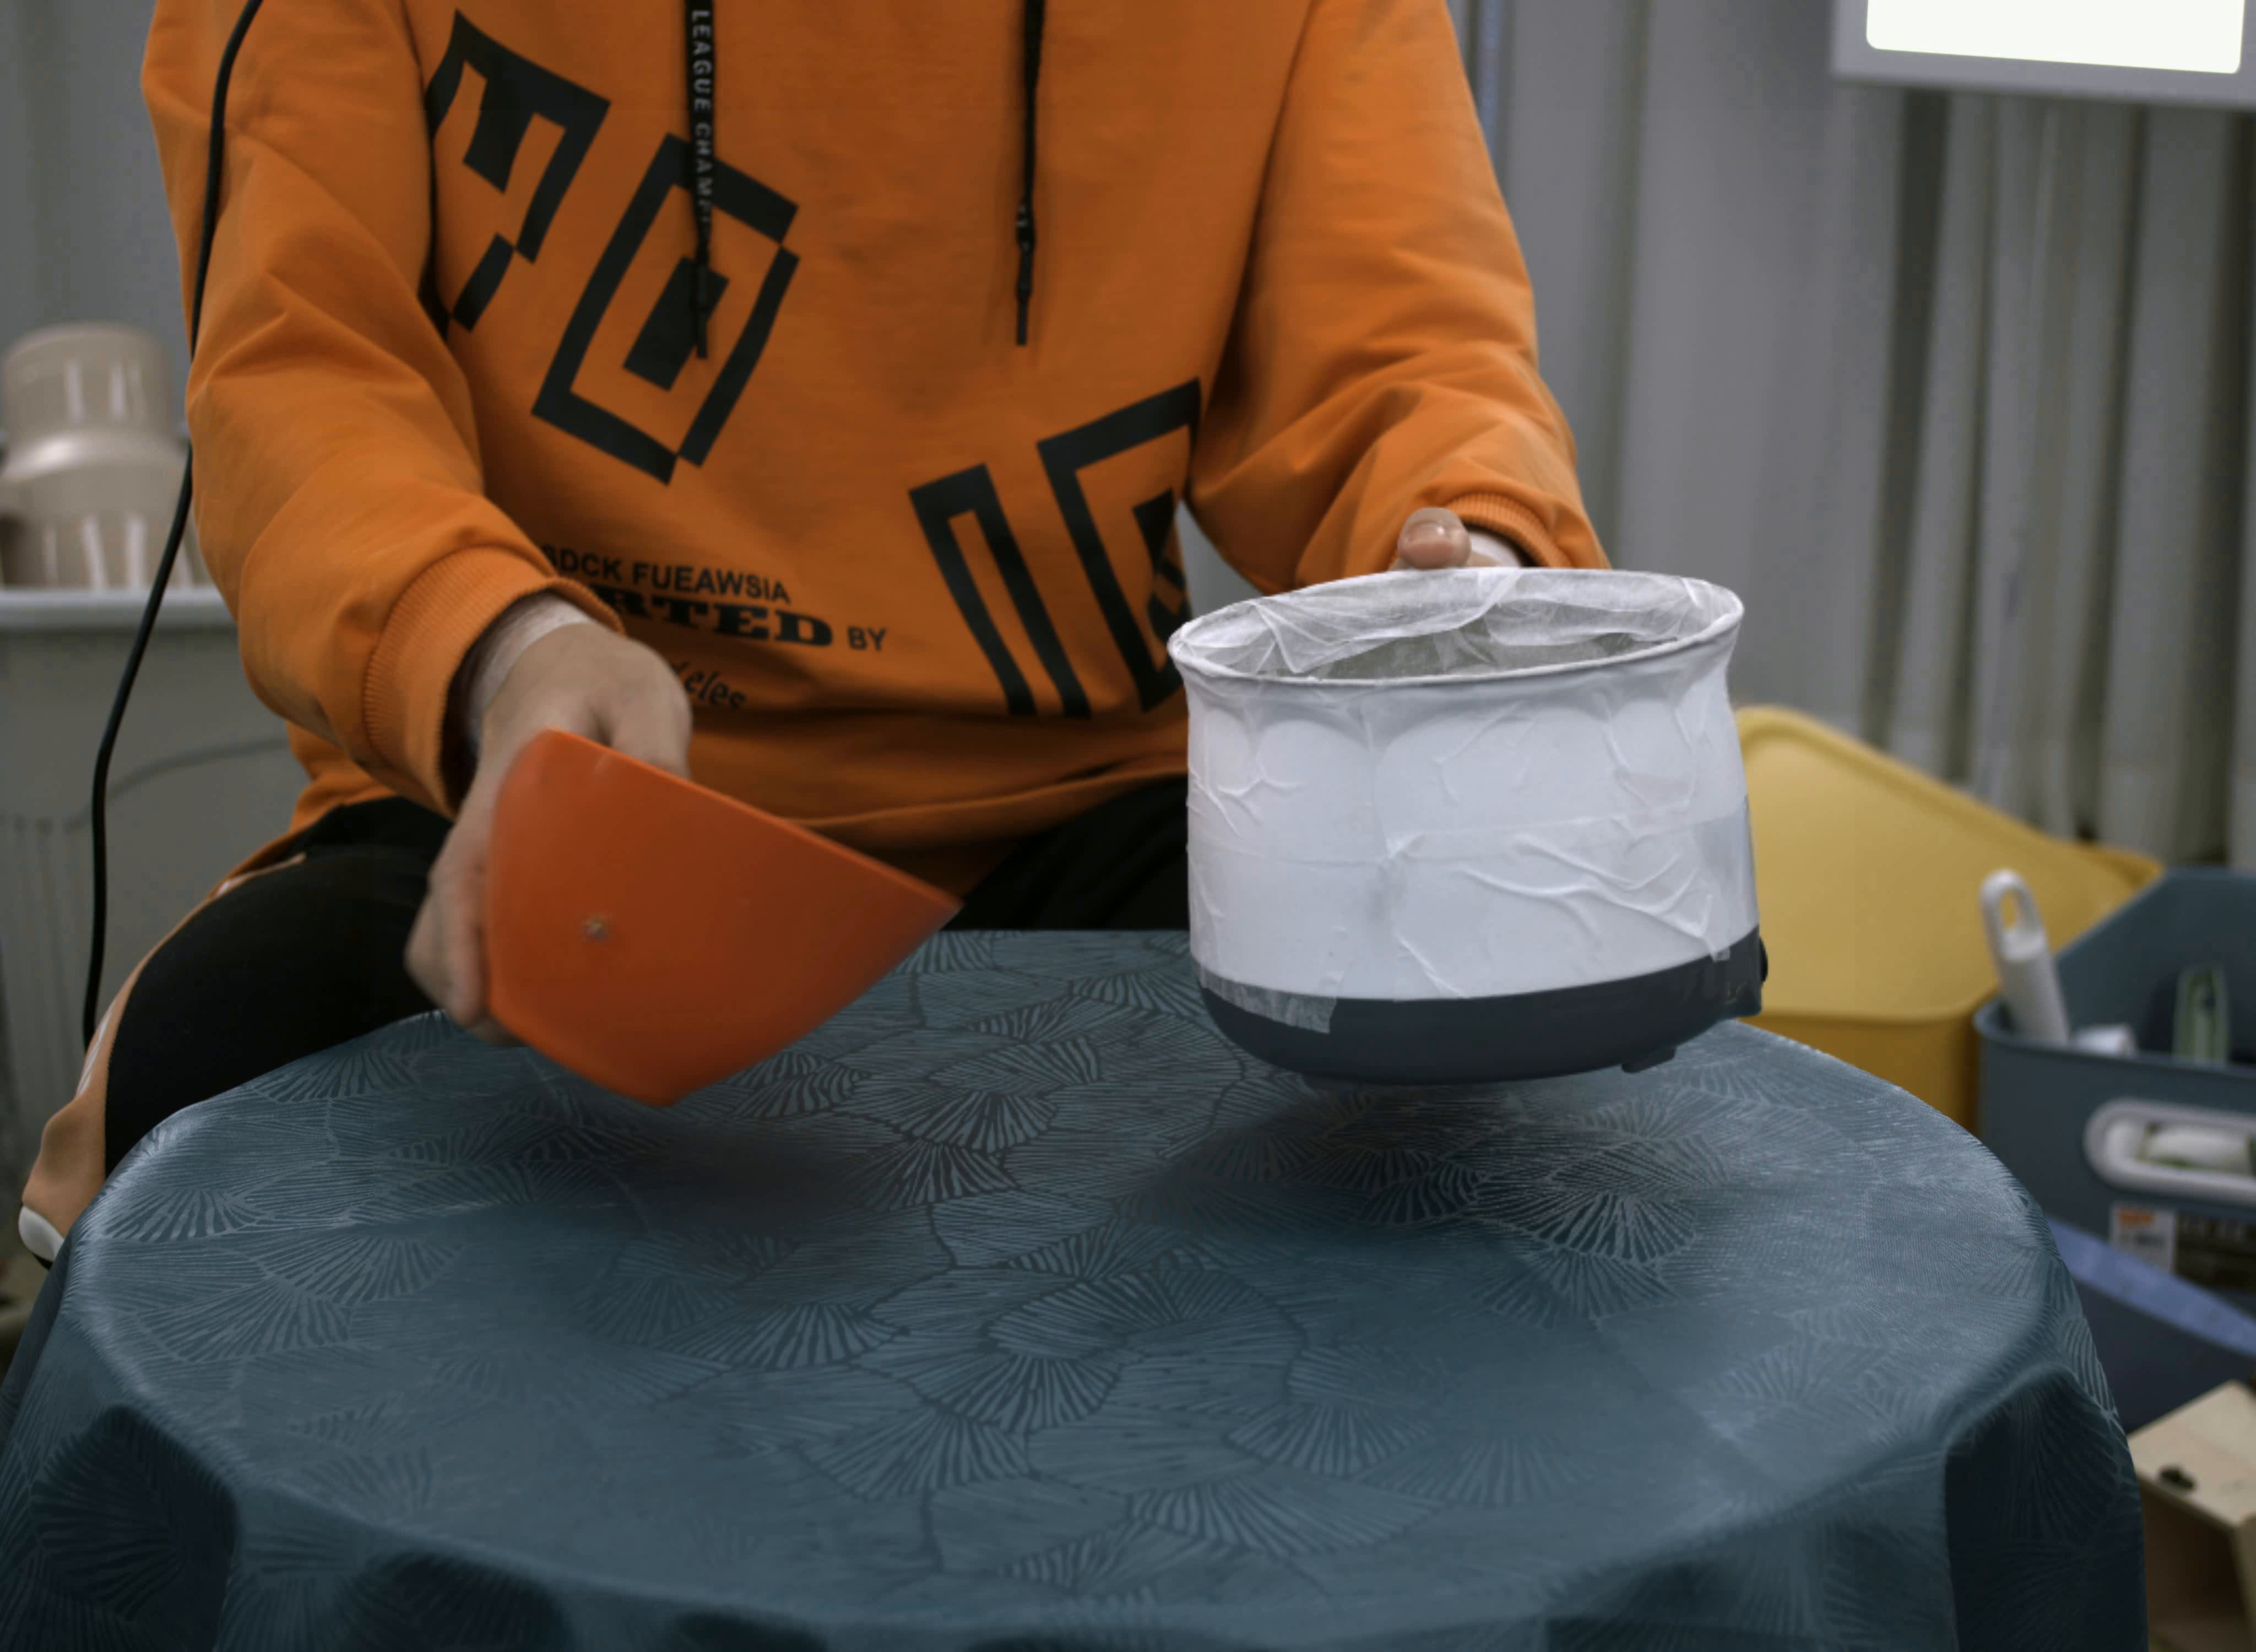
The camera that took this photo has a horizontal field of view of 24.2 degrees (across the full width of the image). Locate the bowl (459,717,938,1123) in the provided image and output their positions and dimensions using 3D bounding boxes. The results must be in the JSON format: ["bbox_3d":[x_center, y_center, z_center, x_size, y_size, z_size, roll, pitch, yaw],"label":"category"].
[{"bbox_3d":[-0.145,0.034,1.606,0.148,0.105,0.148,31,3,-1],"label":"bowl"}]

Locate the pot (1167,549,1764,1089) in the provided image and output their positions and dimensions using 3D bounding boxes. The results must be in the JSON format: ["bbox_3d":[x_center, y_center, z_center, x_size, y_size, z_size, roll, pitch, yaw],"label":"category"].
[{"bbox_3d":[0.103,-0.007,1.645,0.178,0.137,0.232,-4,13,-2],"label":"pot"}]
